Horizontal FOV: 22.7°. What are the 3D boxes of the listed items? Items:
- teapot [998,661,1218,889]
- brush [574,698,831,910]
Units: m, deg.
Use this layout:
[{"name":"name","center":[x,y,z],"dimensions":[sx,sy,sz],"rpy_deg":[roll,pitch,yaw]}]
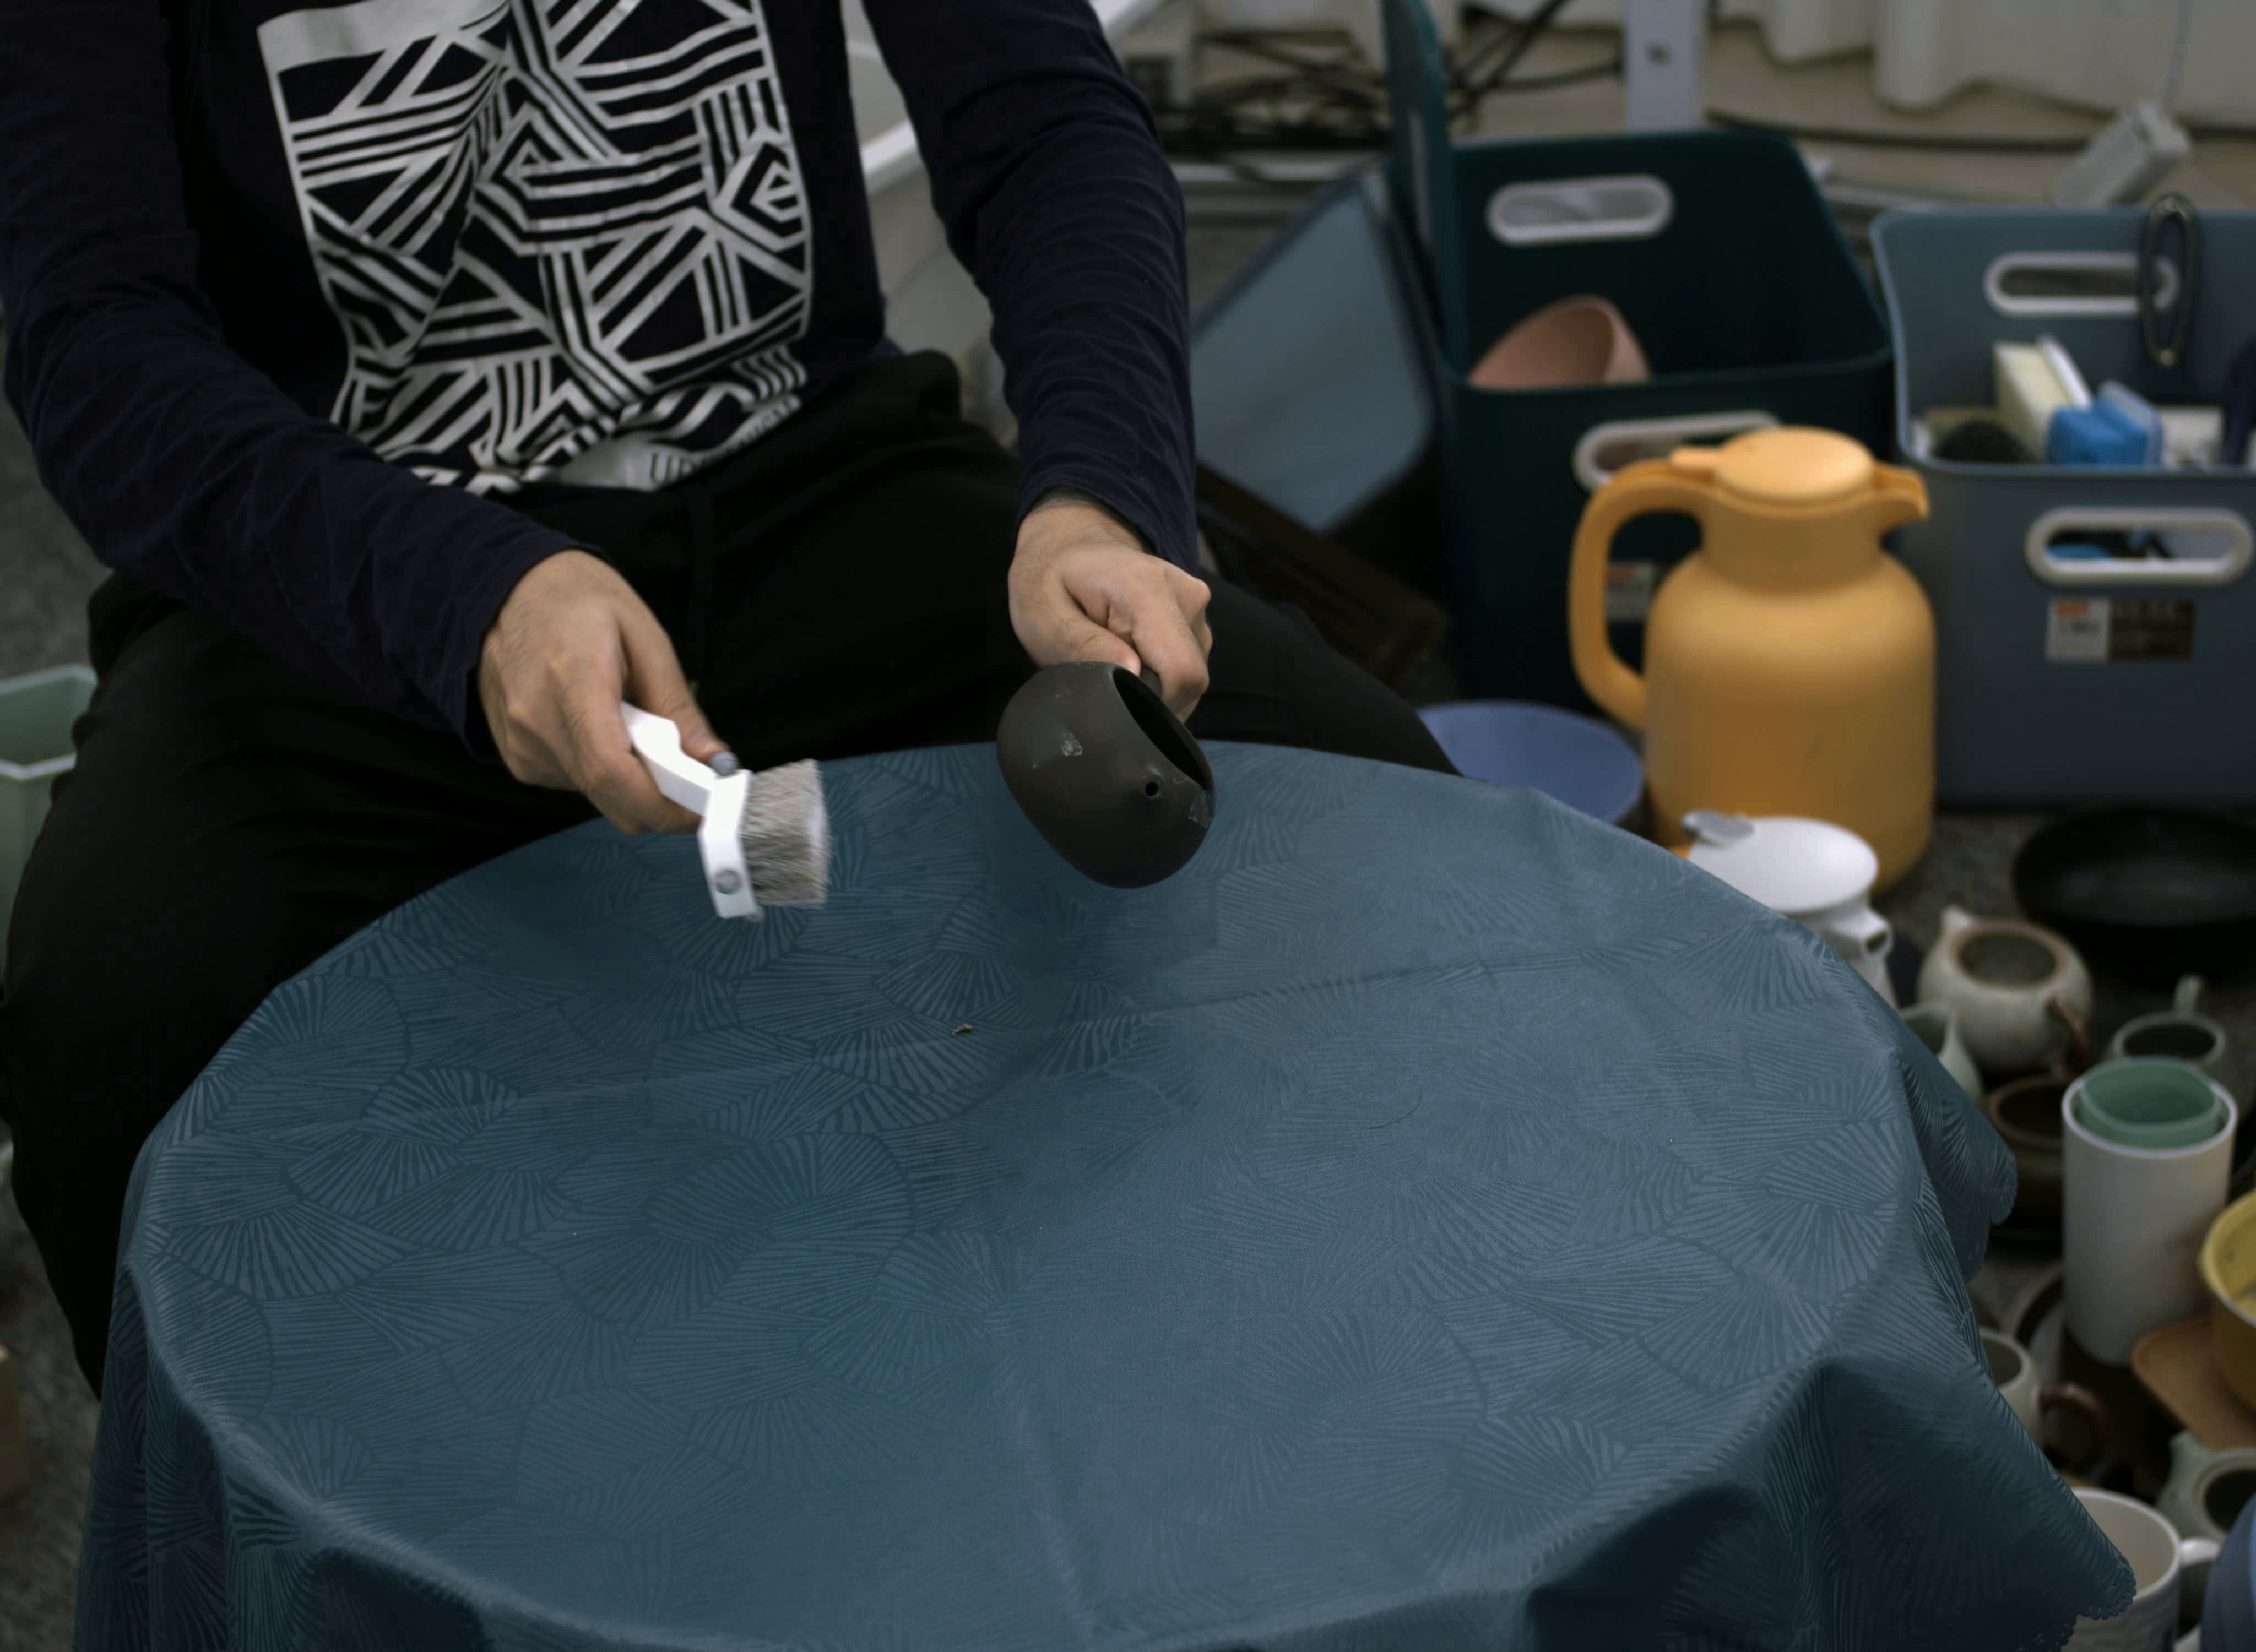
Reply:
[{"name":"teapot","center":[-0.006,-0.023,1.920],"dimensions":[0.052,0.082,0.115],"rpy_deg":[-40,17,15]},{"name":"brush","center":[-0.144,-0.014,1.937],"dimensions":[0.050,0.034,0.244],"rpy_deg":[-10,15,-16]}]
